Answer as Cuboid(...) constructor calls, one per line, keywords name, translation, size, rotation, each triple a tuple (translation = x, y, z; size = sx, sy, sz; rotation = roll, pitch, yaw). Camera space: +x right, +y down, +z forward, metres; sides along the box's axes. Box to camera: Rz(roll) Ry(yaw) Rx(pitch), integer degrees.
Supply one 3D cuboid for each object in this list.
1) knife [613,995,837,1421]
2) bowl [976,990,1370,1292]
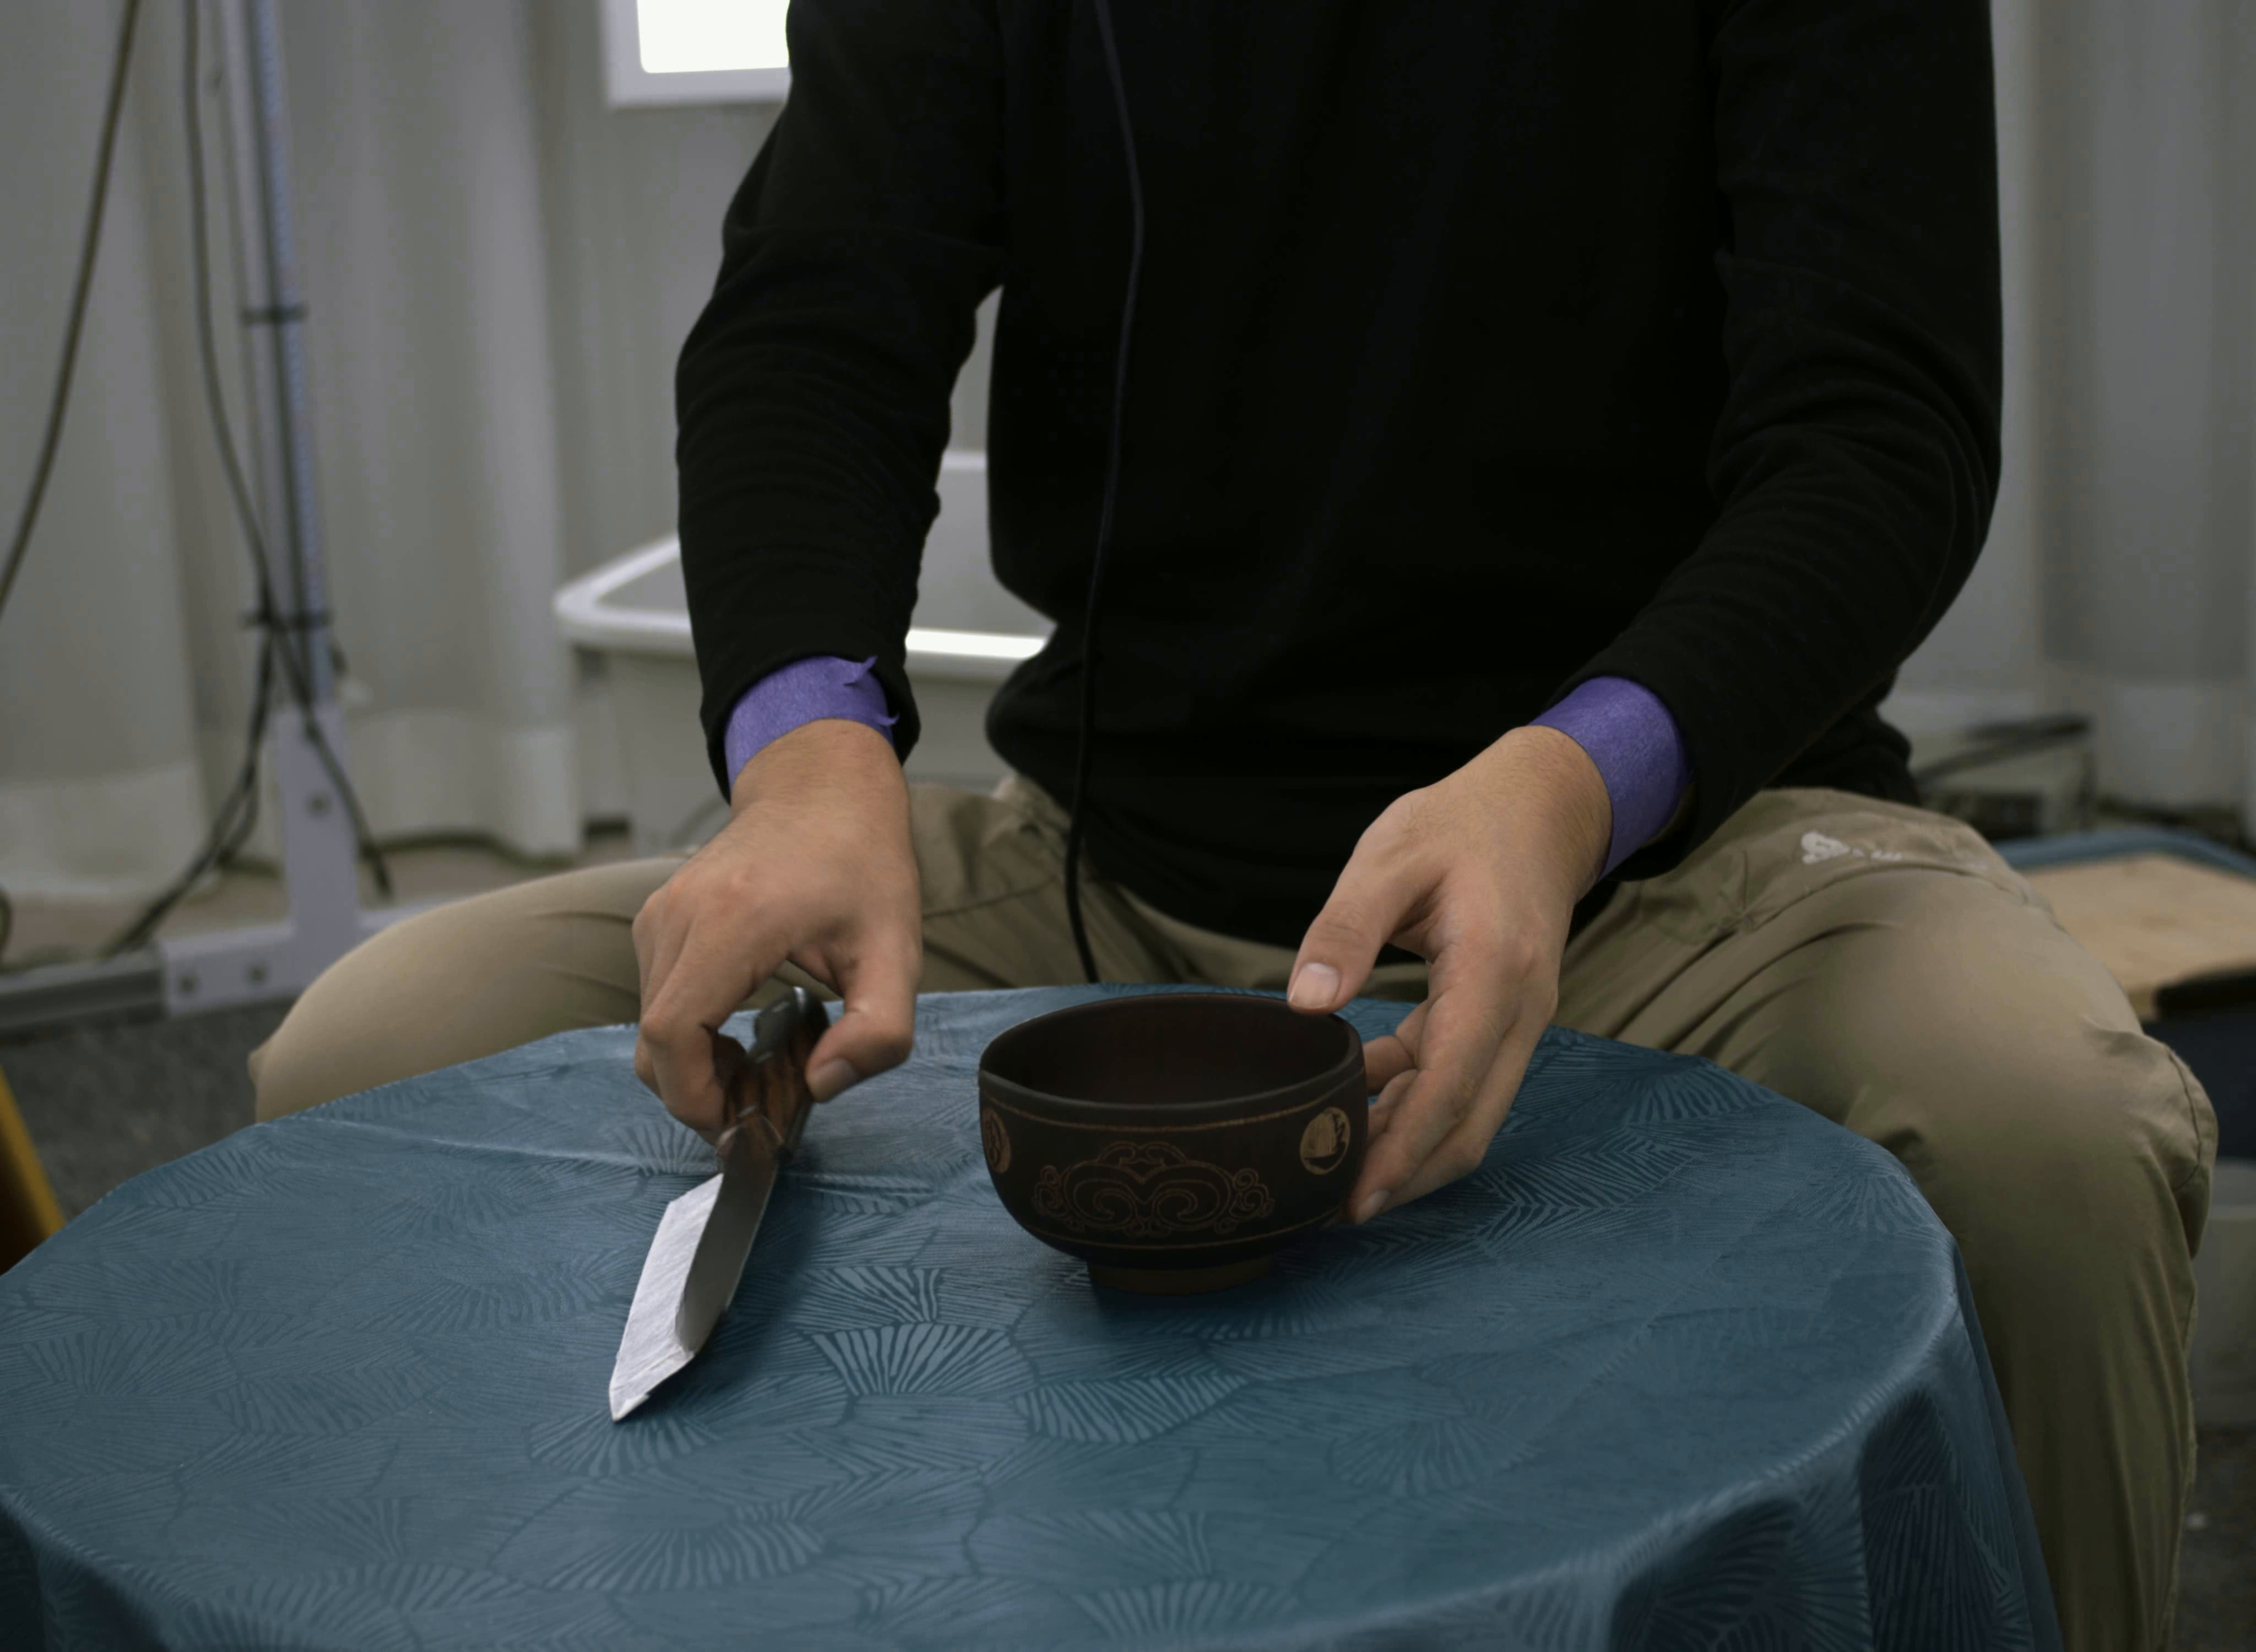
Cuboid(name="knife", translation=(-0.122, 0.115, 1.671), size=(0.050, 0.020, 0.291), rotation=(-29, 15, 16))
Cuboid(name="bowl", translation=(0.014, 0.098, 1.636), size=(0.117, 0.069, 0.119), rotation=(-2, 14, 0))
